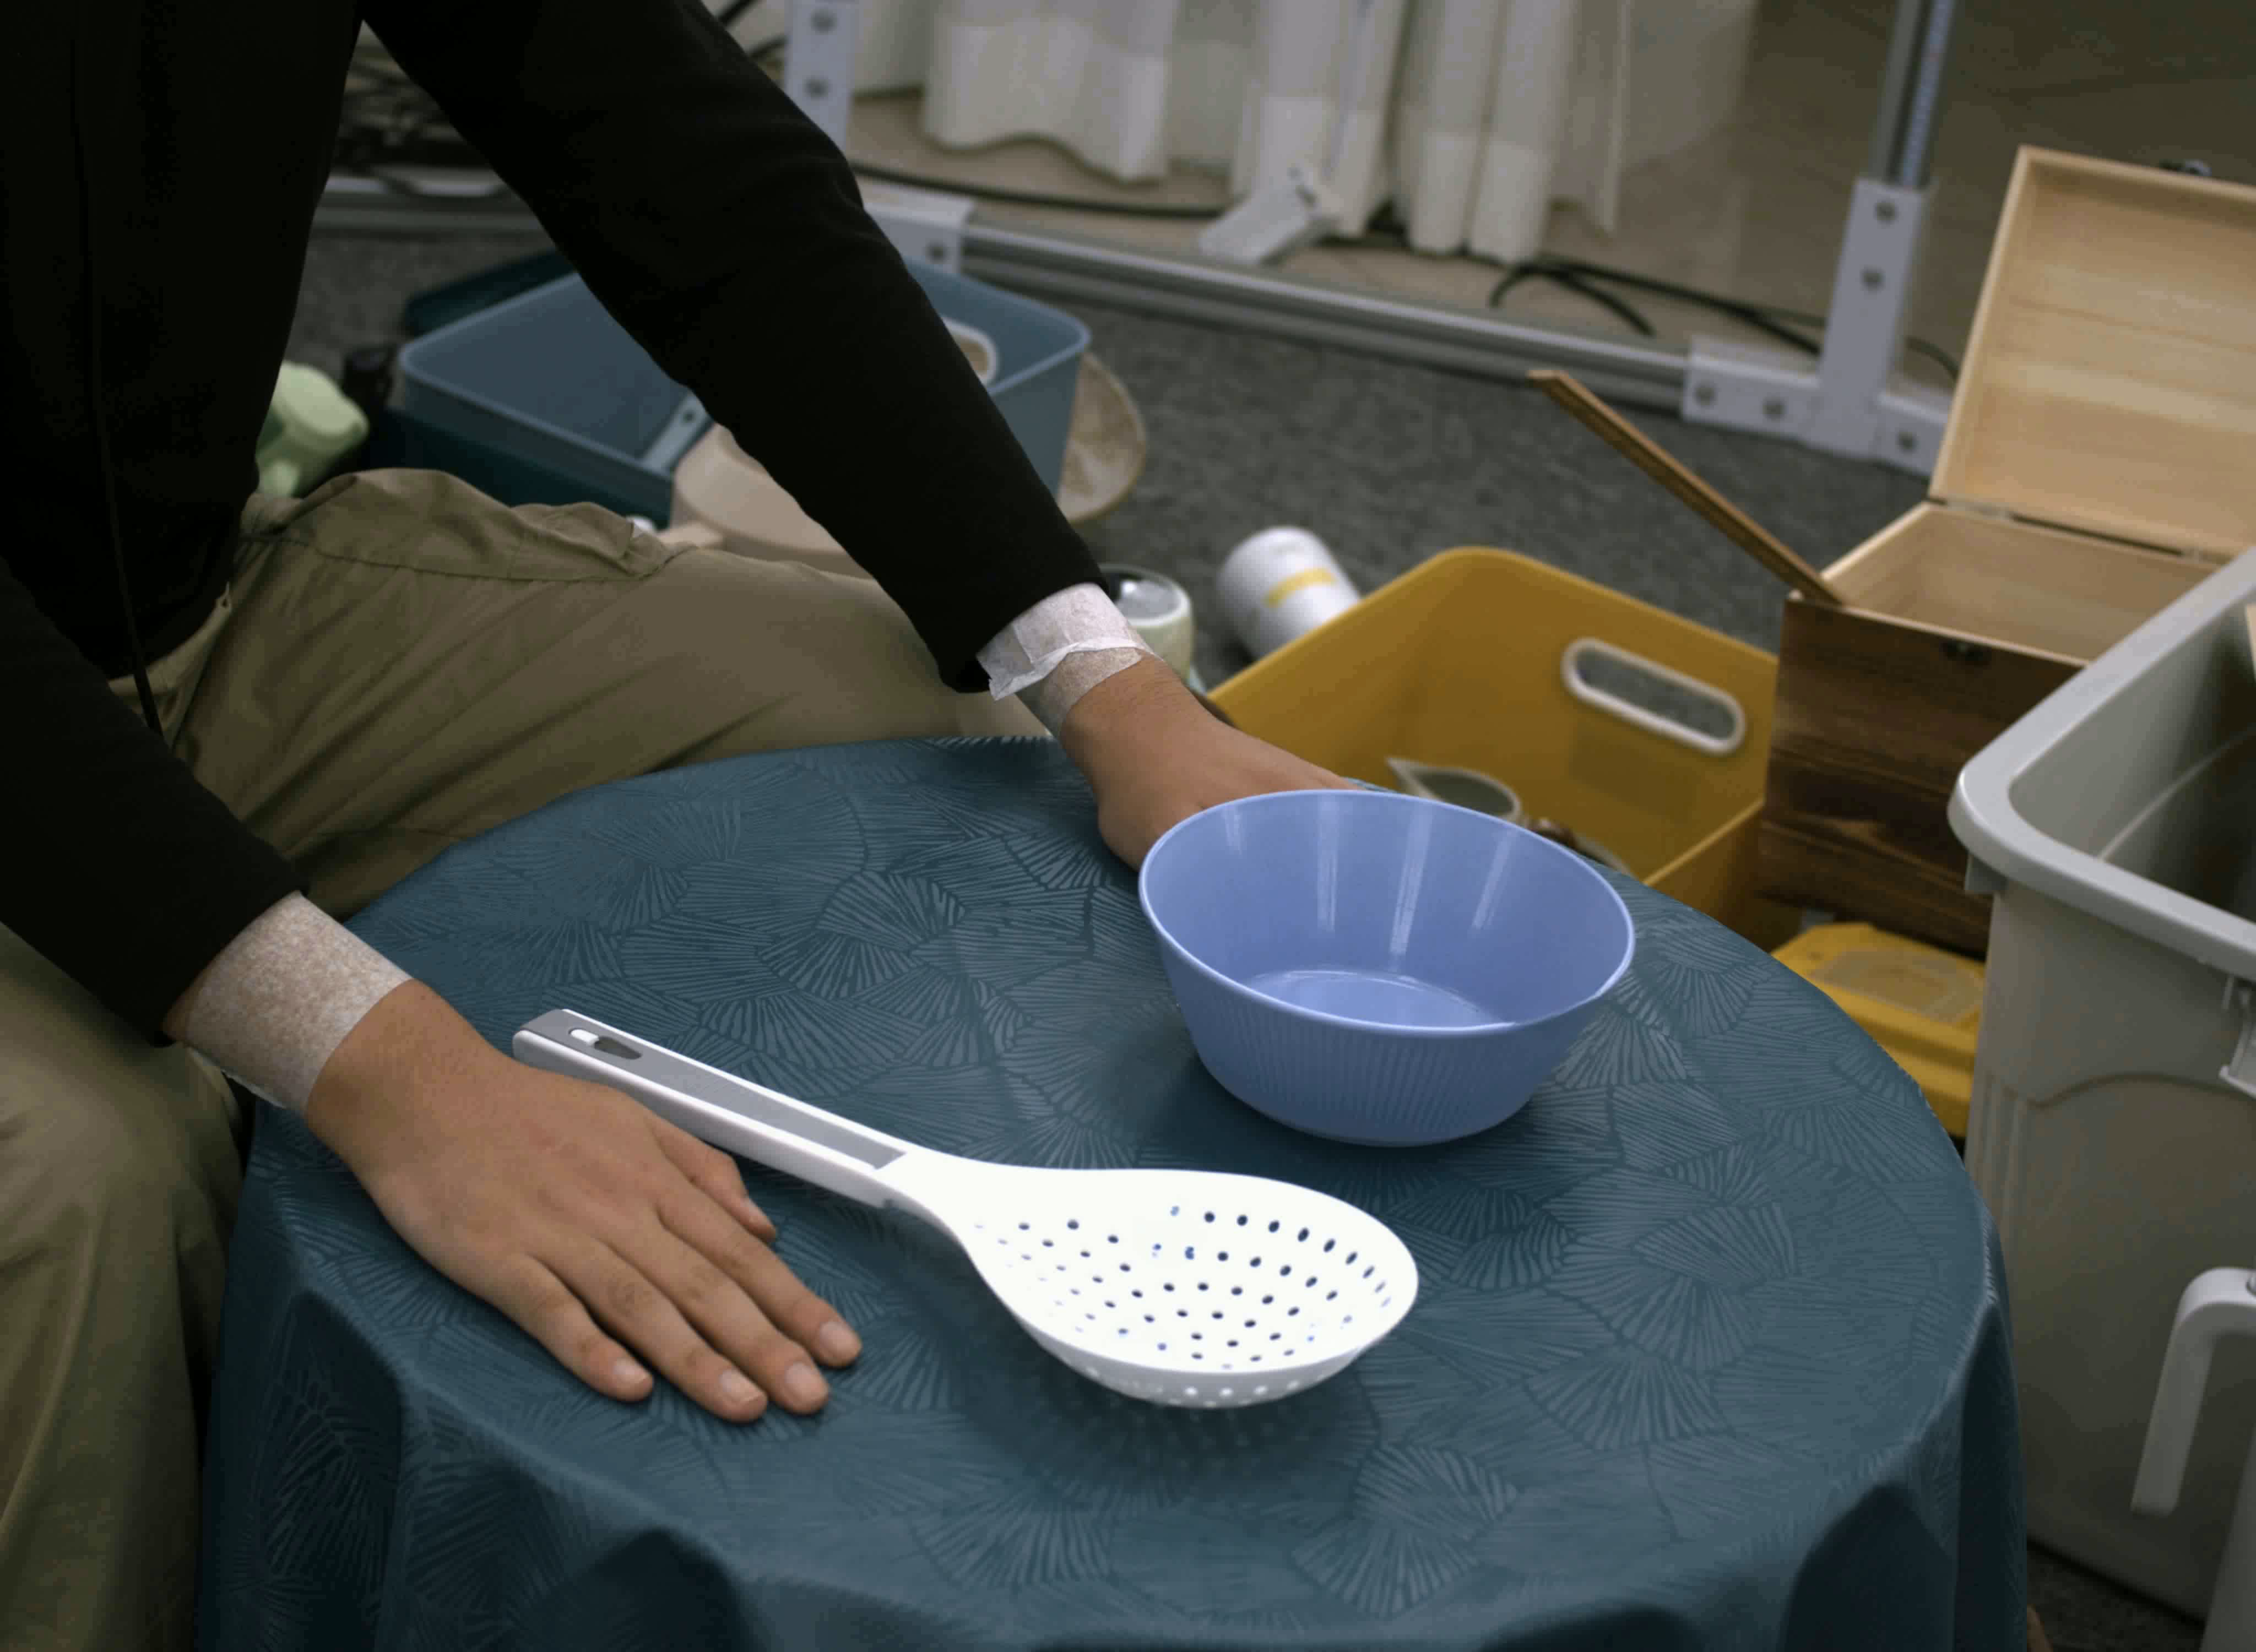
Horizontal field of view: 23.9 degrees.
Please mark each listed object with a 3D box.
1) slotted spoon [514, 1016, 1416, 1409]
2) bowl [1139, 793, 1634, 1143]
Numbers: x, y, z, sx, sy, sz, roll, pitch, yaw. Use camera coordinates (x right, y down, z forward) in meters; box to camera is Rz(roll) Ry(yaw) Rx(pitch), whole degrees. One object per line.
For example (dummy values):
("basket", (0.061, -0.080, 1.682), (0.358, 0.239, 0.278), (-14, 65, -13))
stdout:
("slotted spoon", (-0.064, 0.119, 1.746), (0.352, 0.045, 0.135), (22, 31, 30))
("bowl", (0.087, 0.055, 1.878), (0.175, 0.070, 0.177), (5, 26, -3))
